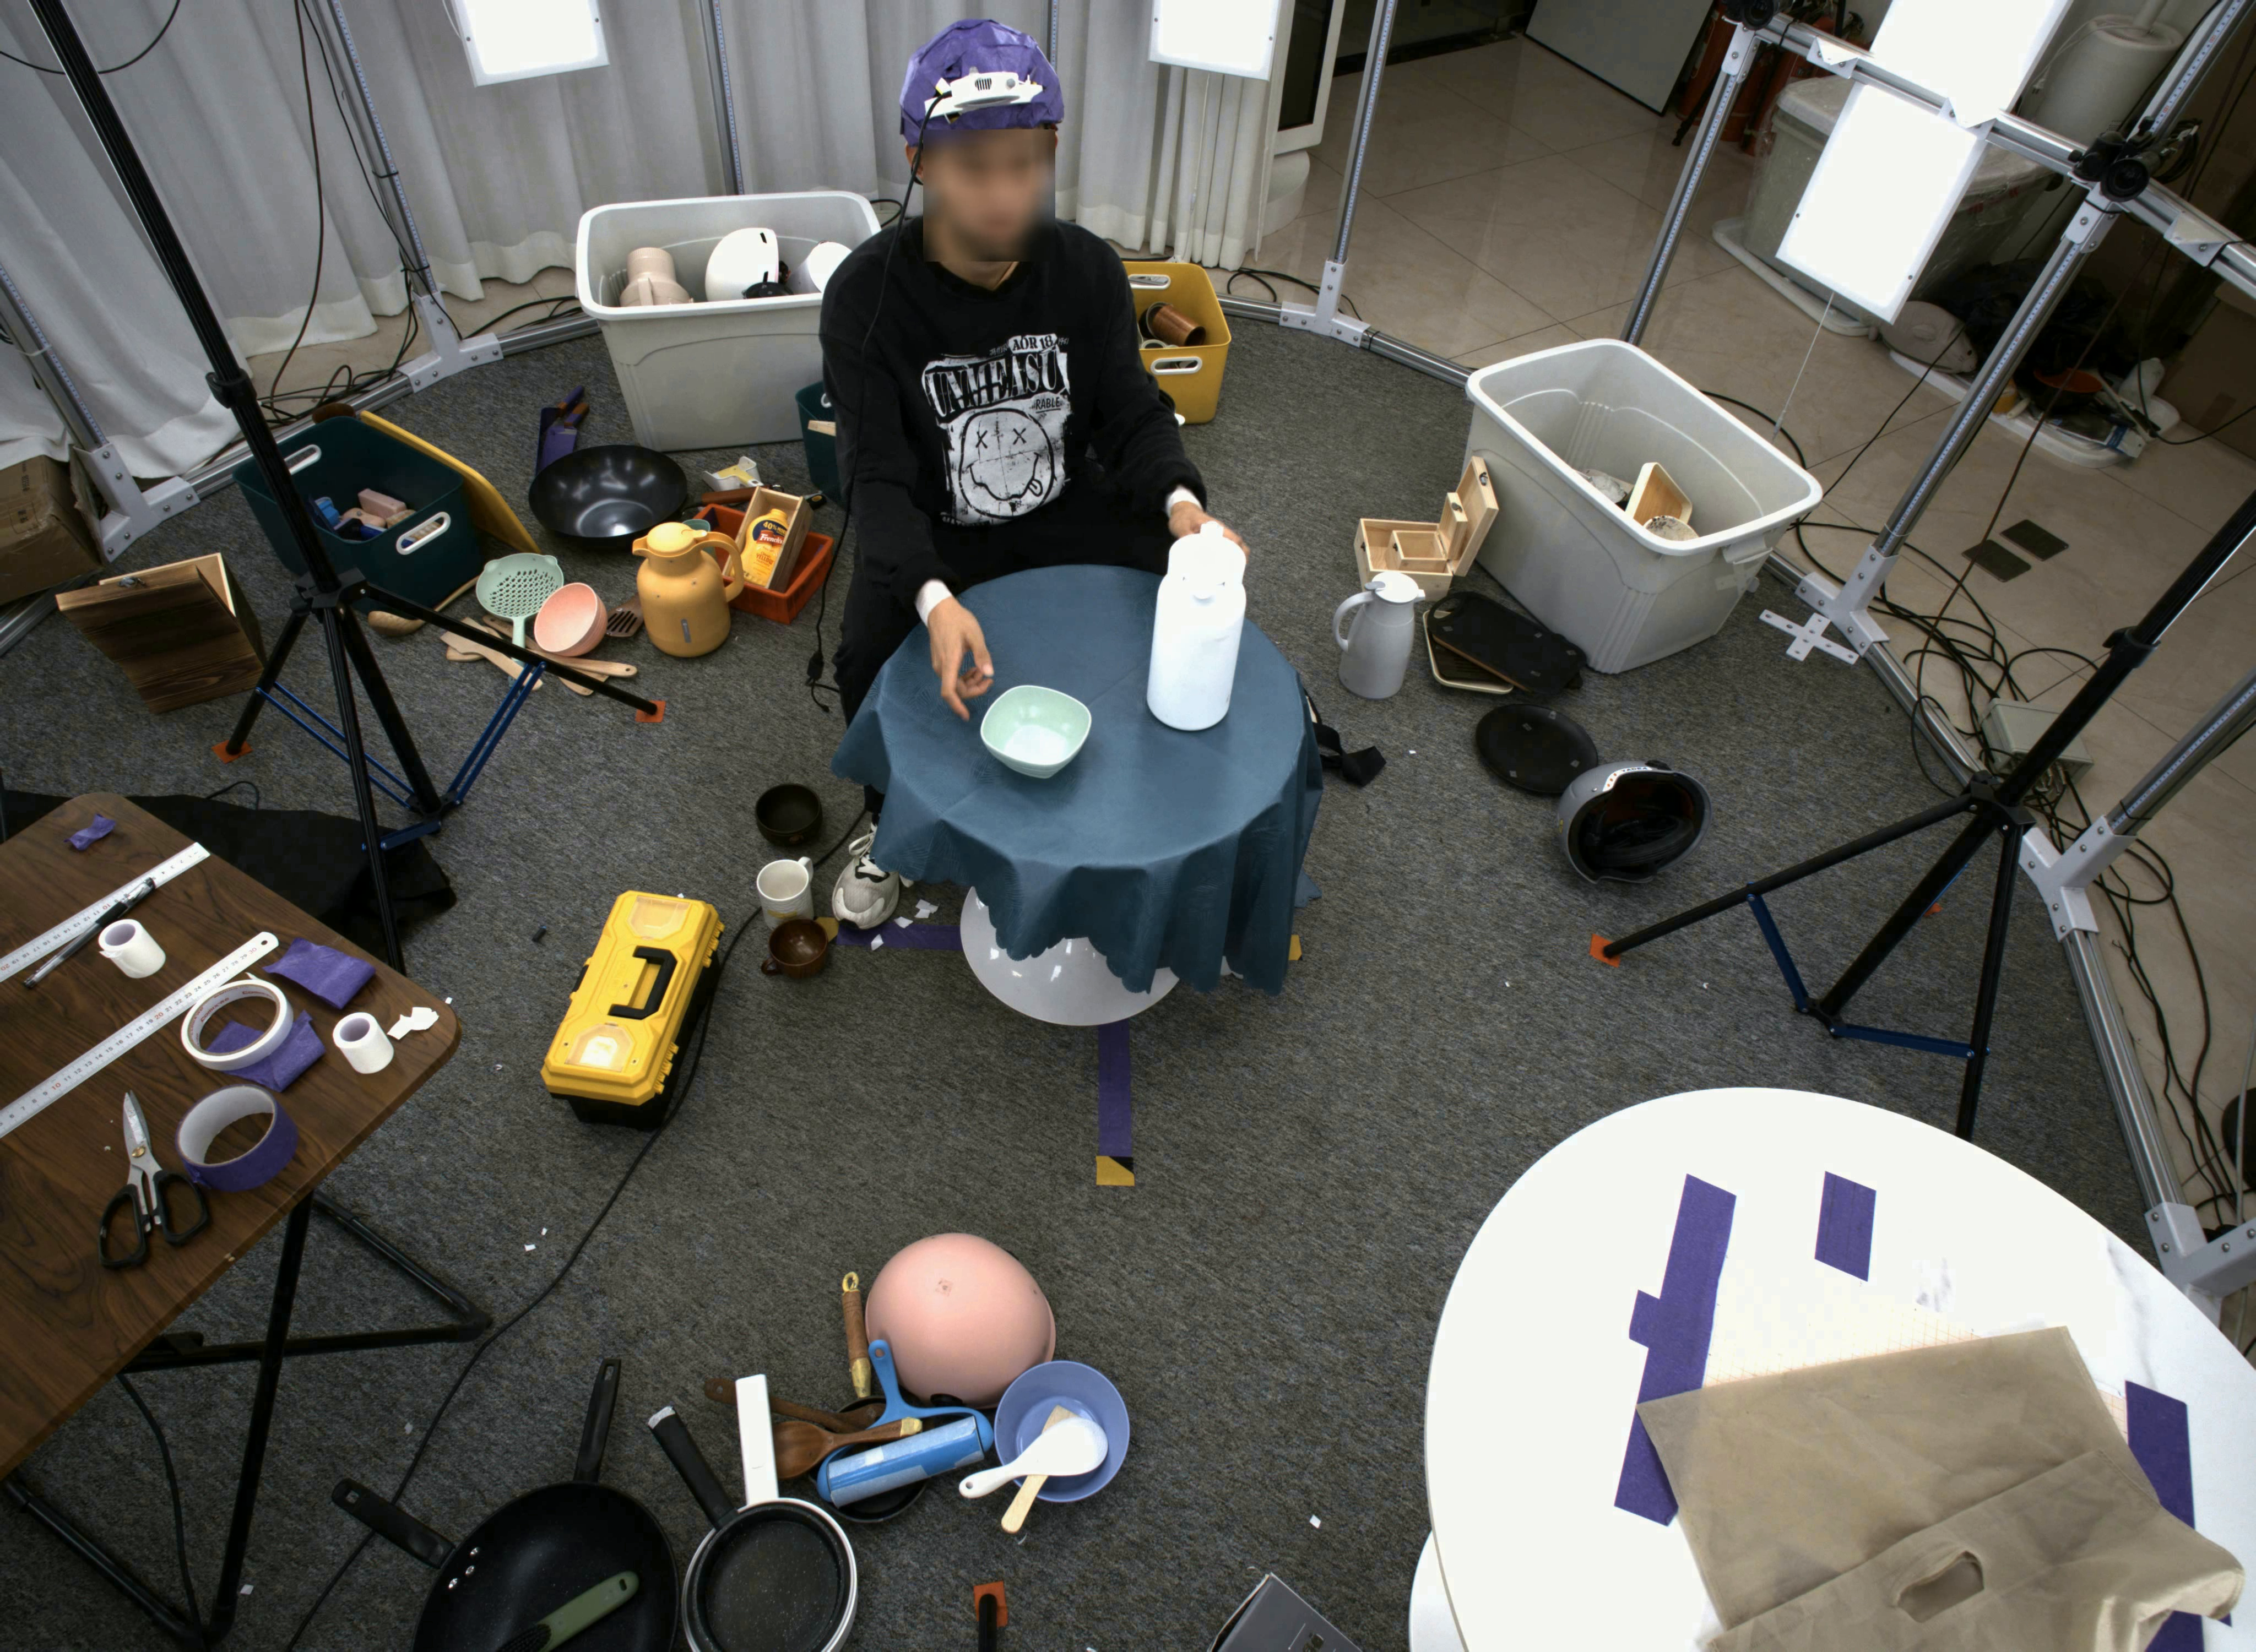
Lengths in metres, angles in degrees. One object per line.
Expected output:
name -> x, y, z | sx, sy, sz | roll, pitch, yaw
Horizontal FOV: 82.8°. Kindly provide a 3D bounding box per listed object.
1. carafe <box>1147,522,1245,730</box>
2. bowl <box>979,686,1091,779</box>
carafe -> 0.093, -0.272, 1.739 | 0.124, 0.262, 0.177 | 6, 49, 3
bowl -> -0.125, -0.117, 1.729 | 0.151, 0.057, 0.155 | 2, 49, -2
